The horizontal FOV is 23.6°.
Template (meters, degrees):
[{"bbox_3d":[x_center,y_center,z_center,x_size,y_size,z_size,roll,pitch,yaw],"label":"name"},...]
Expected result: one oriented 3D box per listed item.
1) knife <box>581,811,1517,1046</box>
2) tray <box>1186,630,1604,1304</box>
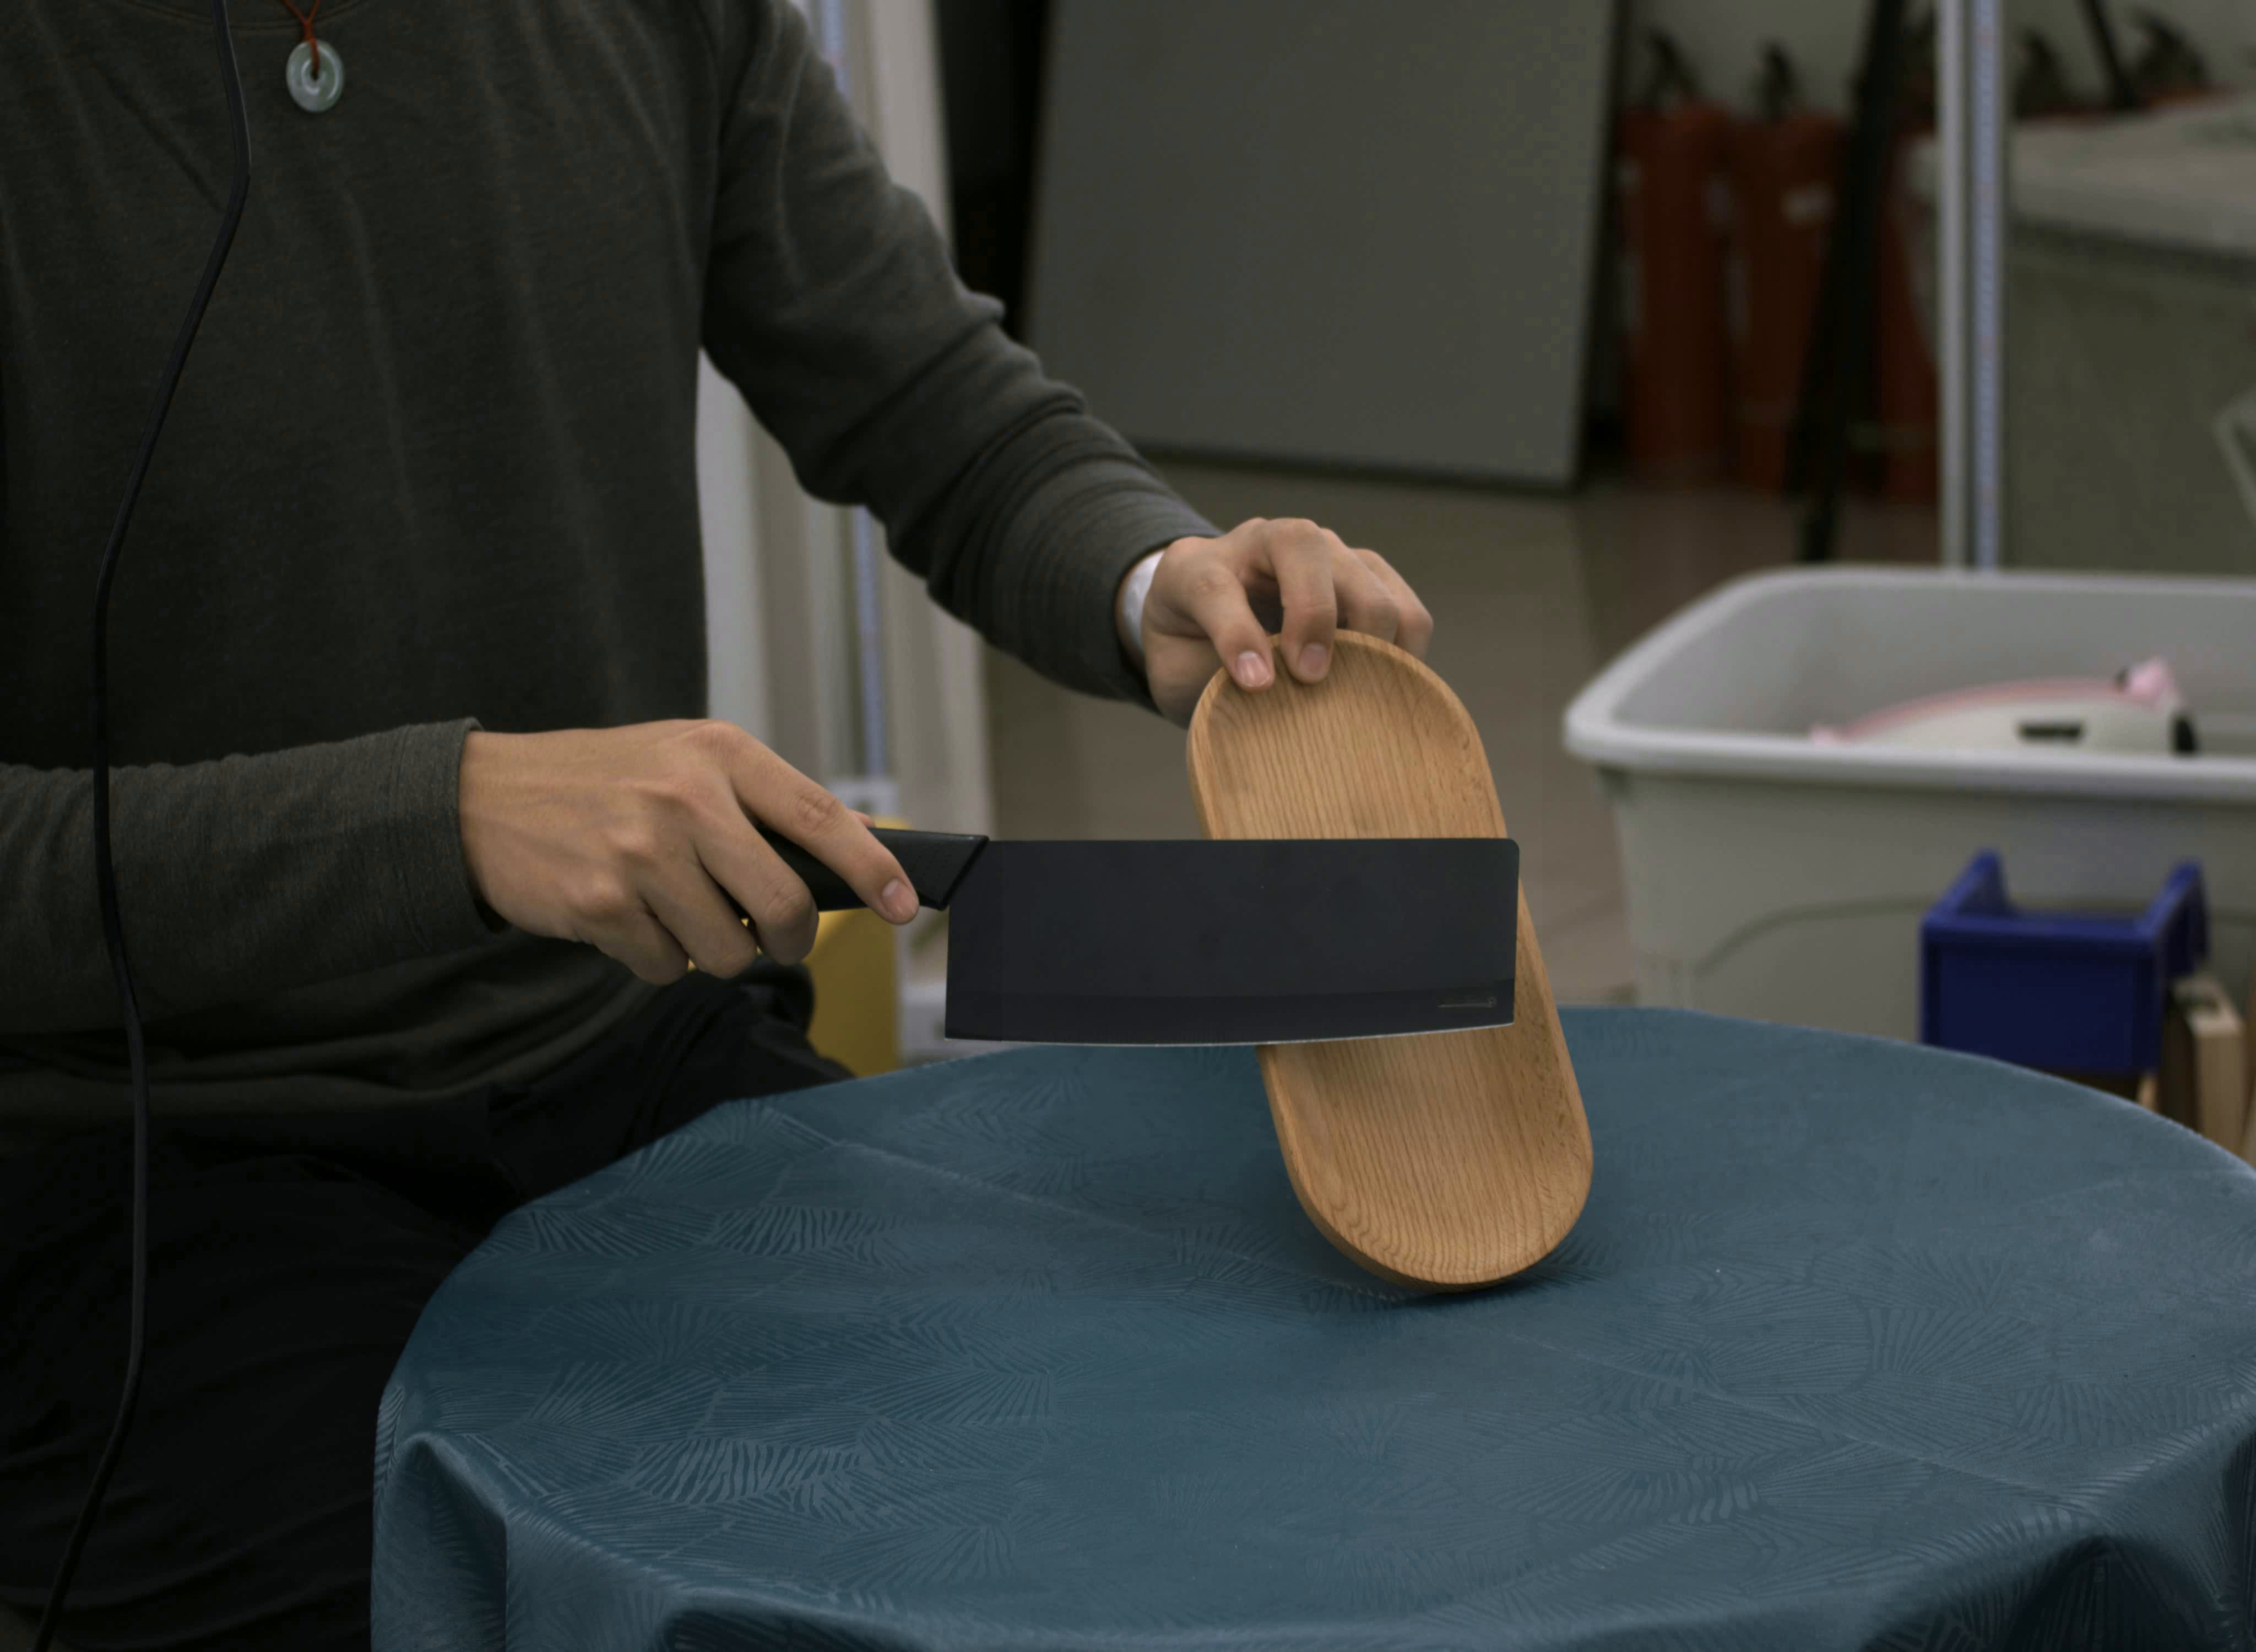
[{"bbox_3d":[-0.026,0.030,1.682,0.301,0.082,0.021,3,-18,14],"label":"knife"},{"bbox_3d":[0.082,0.043,1.696,0.099,0.234,0.020,-7,-25,-17],"label":"tray"}]
